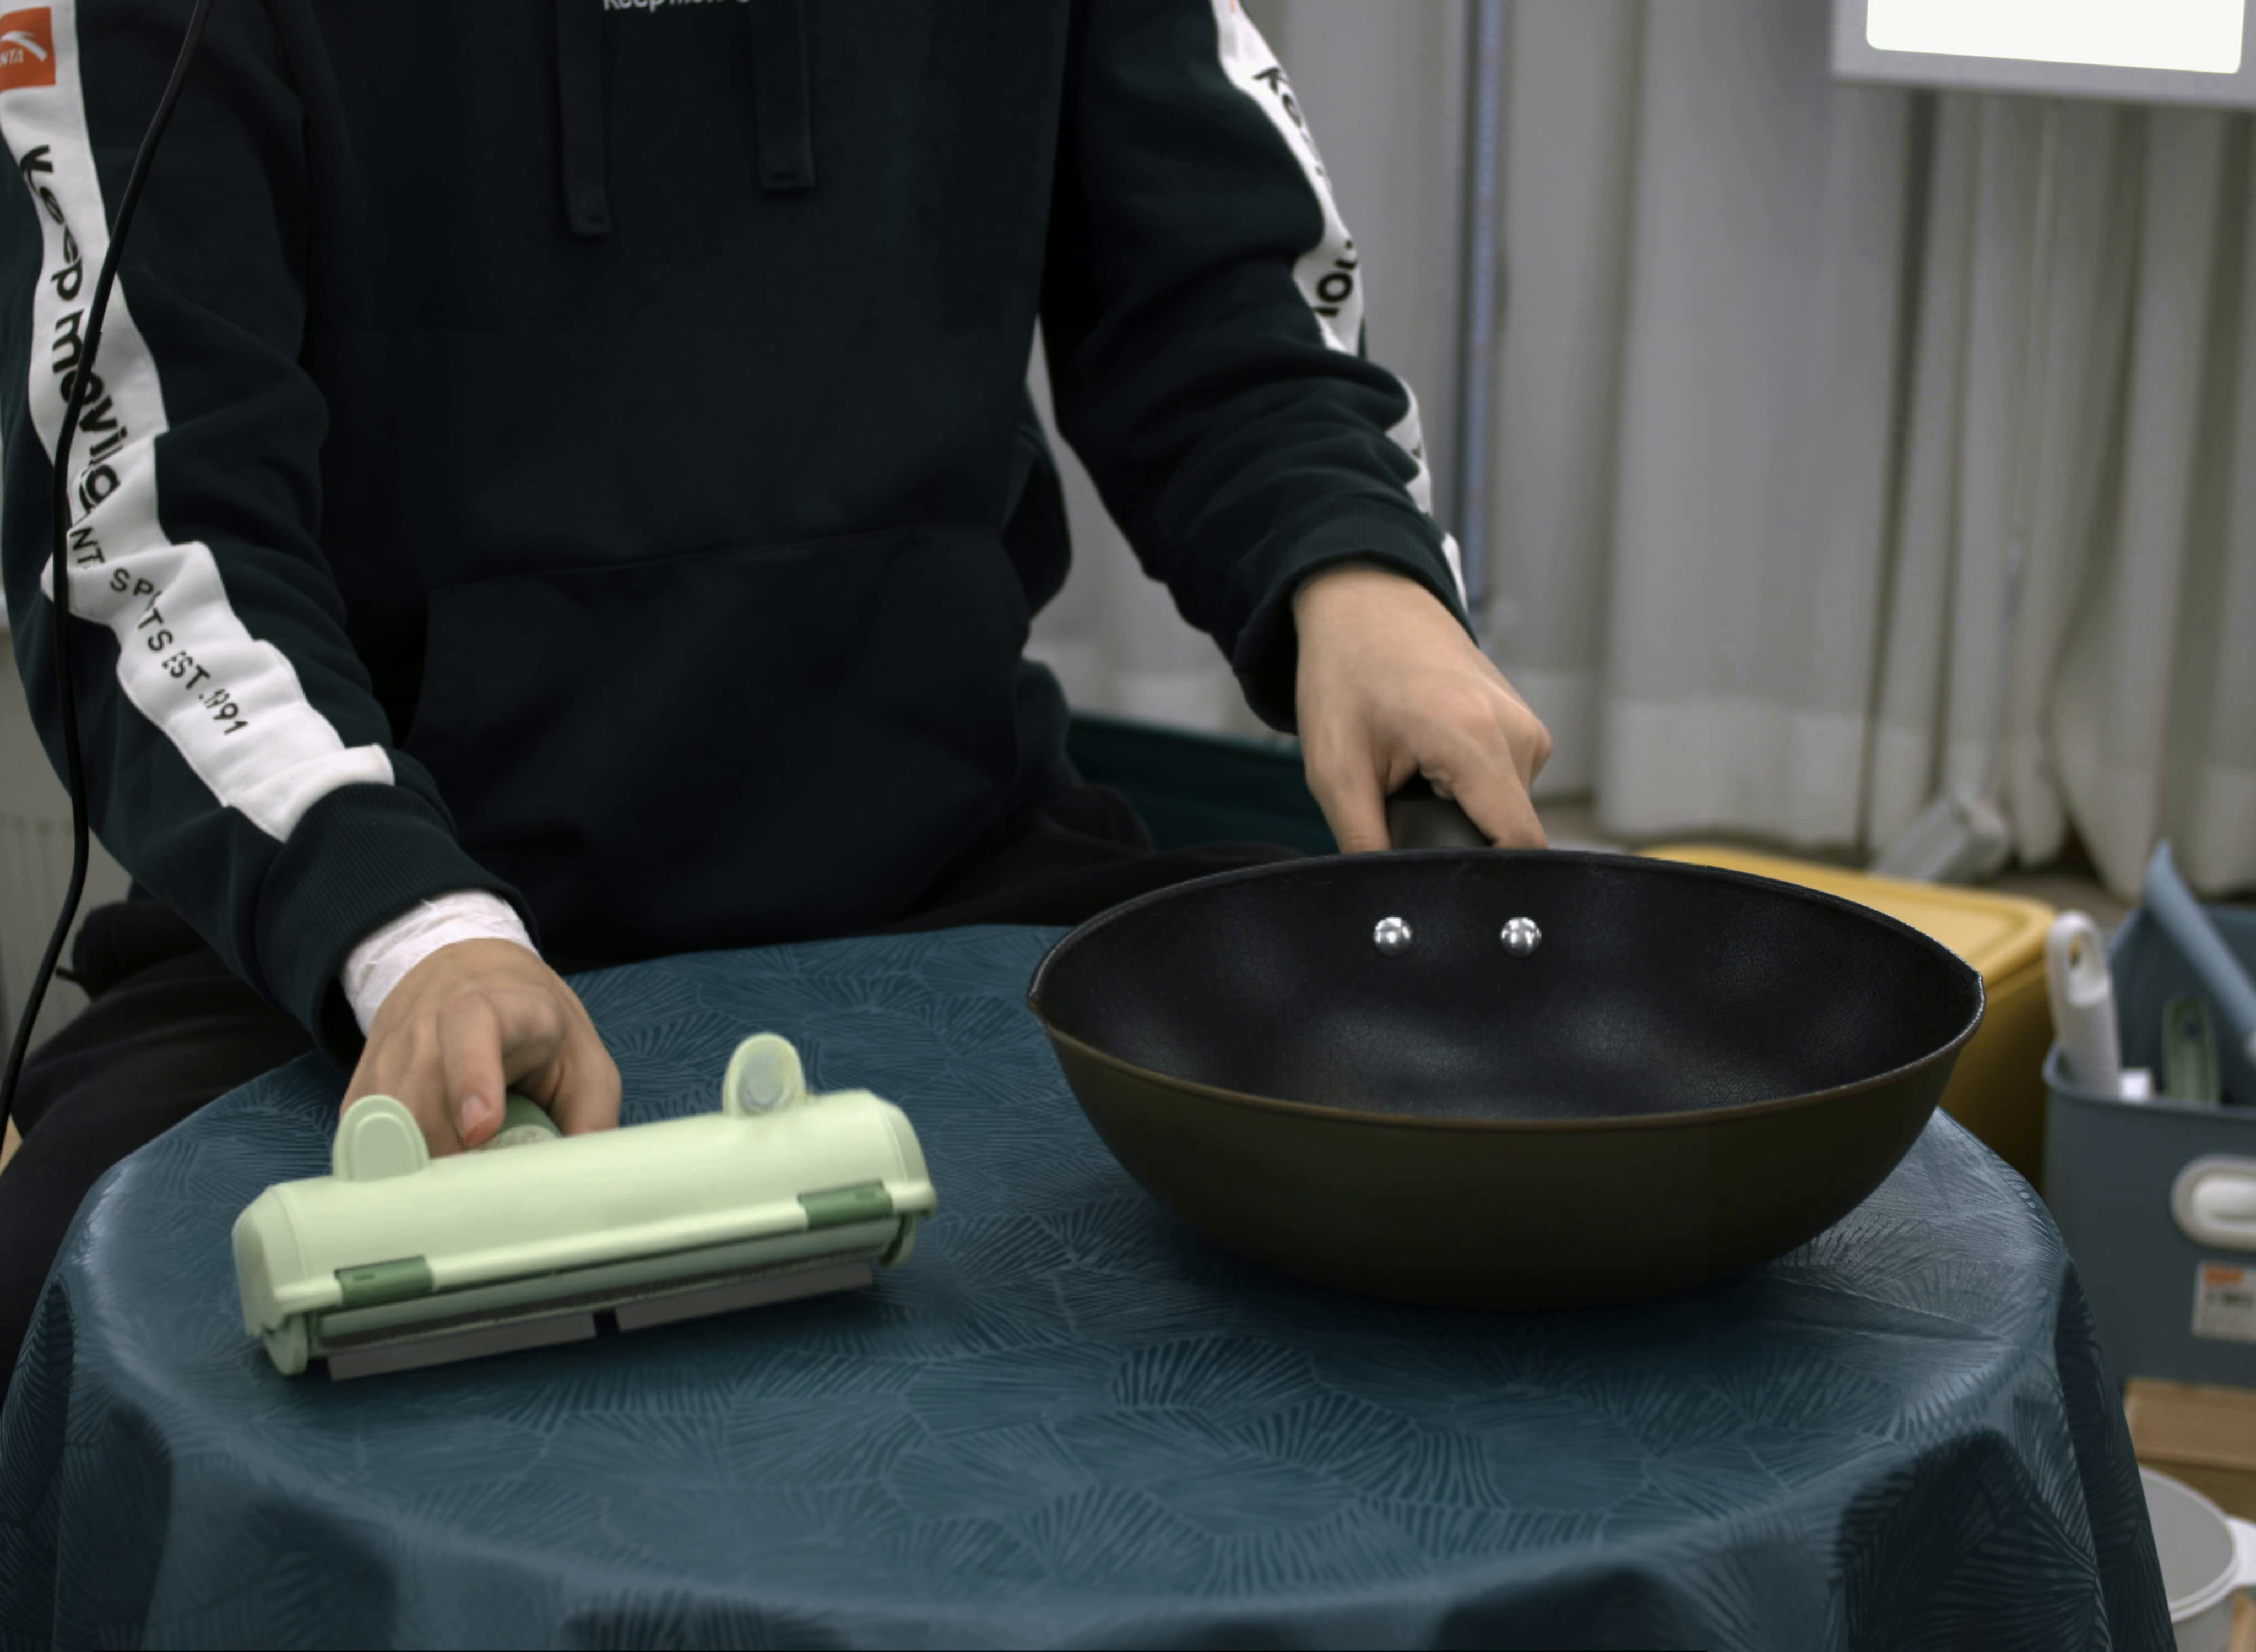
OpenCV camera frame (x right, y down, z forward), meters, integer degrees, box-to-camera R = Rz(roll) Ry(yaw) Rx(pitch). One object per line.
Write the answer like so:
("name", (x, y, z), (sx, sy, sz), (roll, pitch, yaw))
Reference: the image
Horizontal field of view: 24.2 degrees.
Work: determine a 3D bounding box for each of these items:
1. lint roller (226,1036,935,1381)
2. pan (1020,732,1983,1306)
("lint roller", (-0.175, 0.089, 1.539), (0.199, 0.083, 0.181), (-7, 25, -21))
("pan", (0.106, 0.058, 1.664), (0.287, 0.087, 0.460), (-1, 14, -4))
